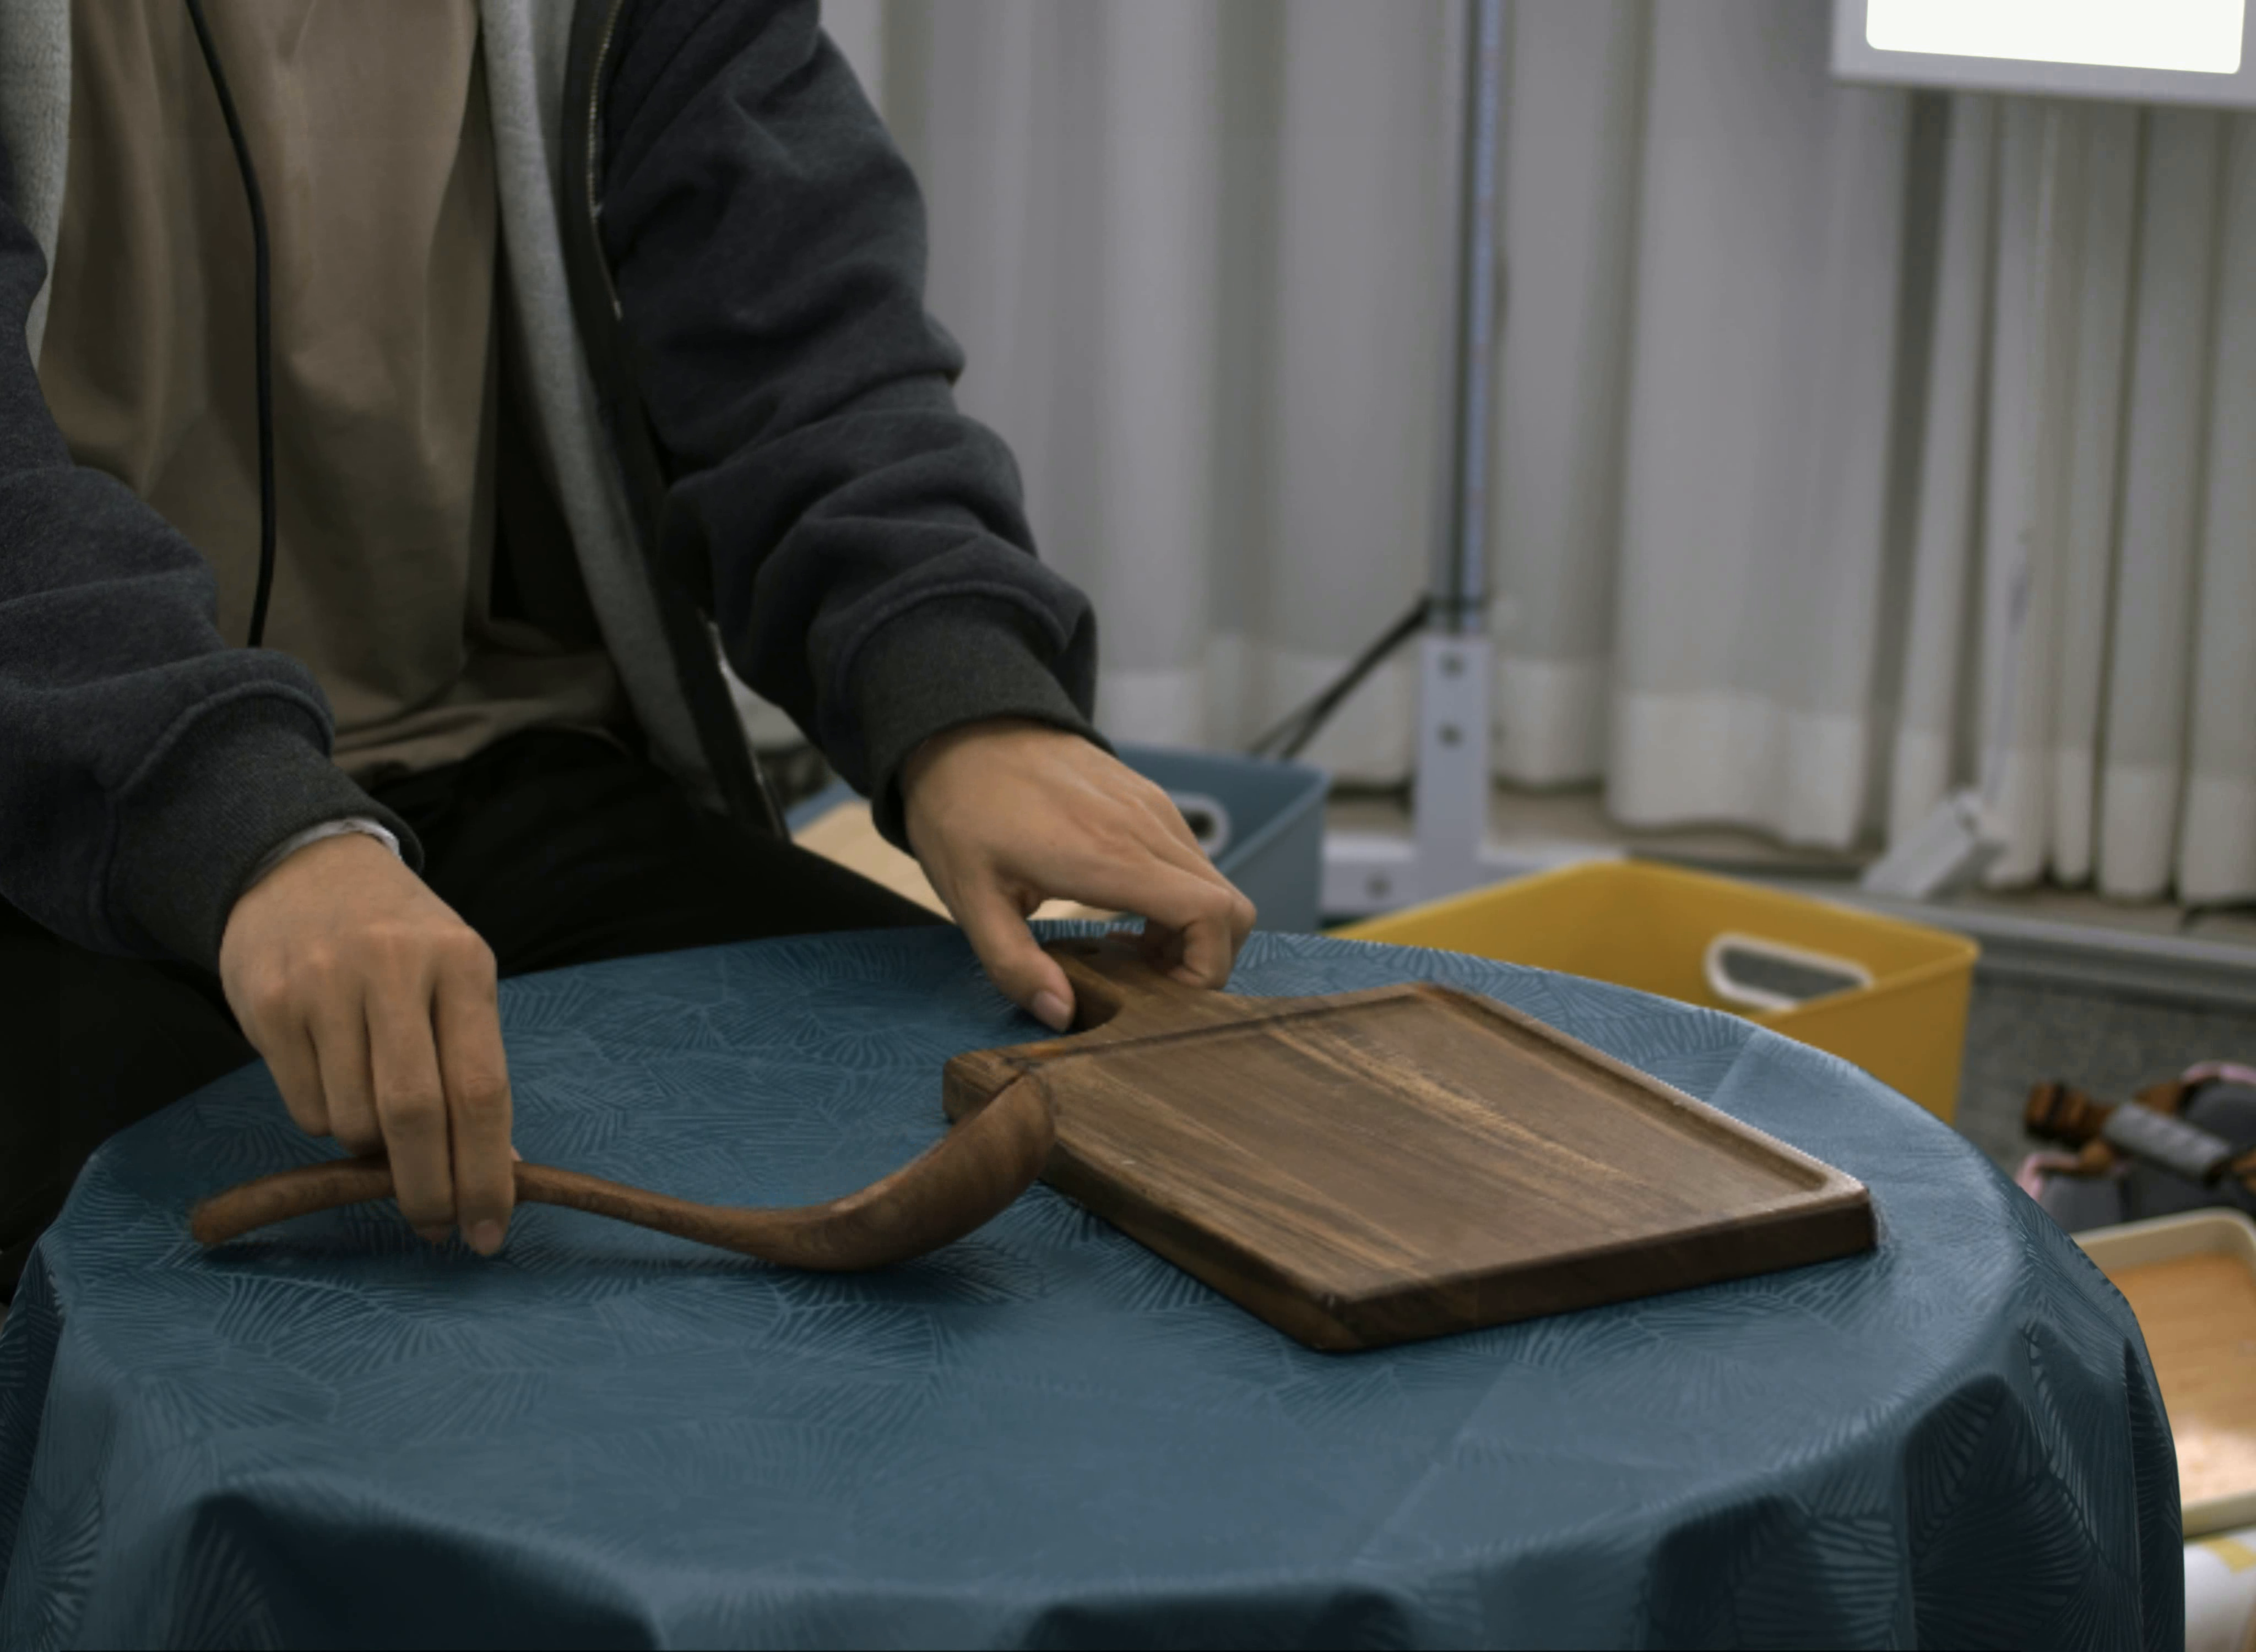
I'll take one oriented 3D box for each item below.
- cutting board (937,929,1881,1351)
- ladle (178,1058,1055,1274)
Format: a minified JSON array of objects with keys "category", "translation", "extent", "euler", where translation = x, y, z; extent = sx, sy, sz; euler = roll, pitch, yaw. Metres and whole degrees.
[{"category":"cutting board","translation":[0.059,0.088,1.670],"extent":[0.202,0.023,0.347],"euler":[-7,17,-29]},{"category":"ladle","translation":[-0.151,0.097,1.549],"extent":[0.259,0.065,0.076],"euler":[2,1,4]}]
